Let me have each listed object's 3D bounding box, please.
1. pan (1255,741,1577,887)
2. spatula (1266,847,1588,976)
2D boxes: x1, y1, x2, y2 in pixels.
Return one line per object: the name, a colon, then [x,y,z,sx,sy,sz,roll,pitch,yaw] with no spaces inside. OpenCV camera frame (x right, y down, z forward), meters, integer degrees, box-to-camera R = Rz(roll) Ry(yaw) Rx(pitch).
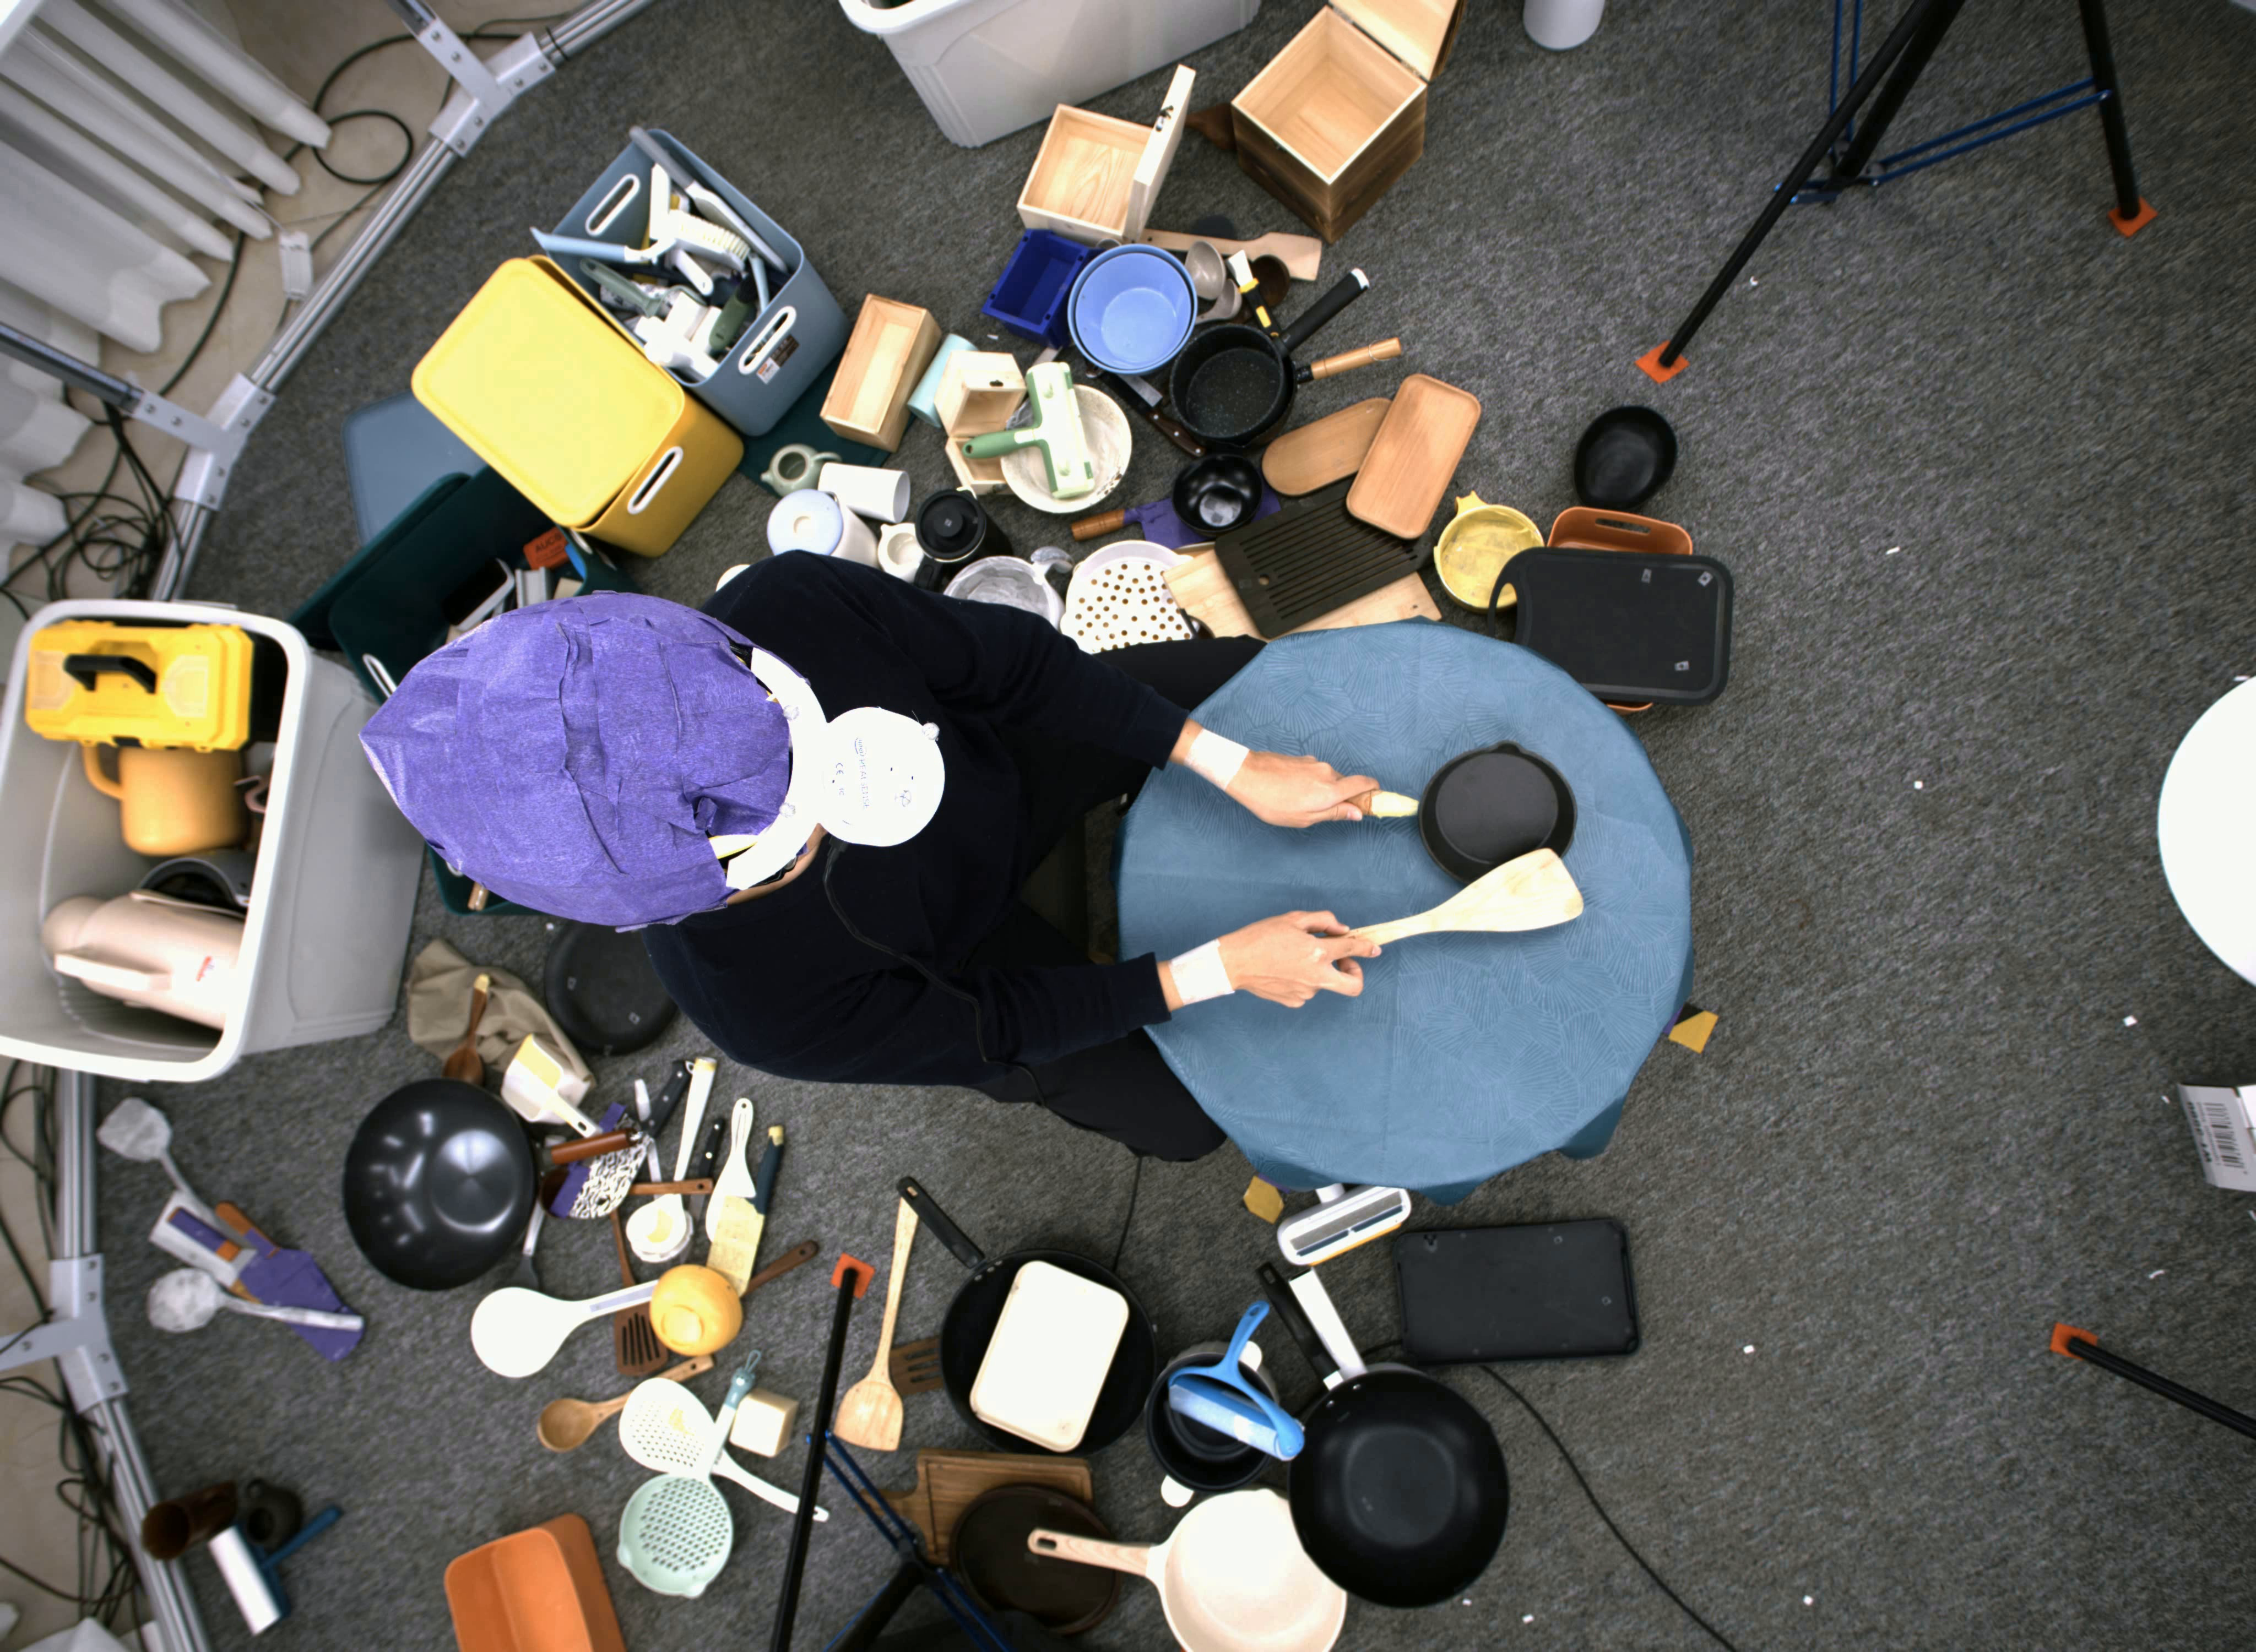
pan: [0.292,-0.024,1.408,0.325,0.048,0.172,8,117,8]
spatula: [0.296,0.095,1.389,0.328,0.017,0.079,-16,77,-1]
